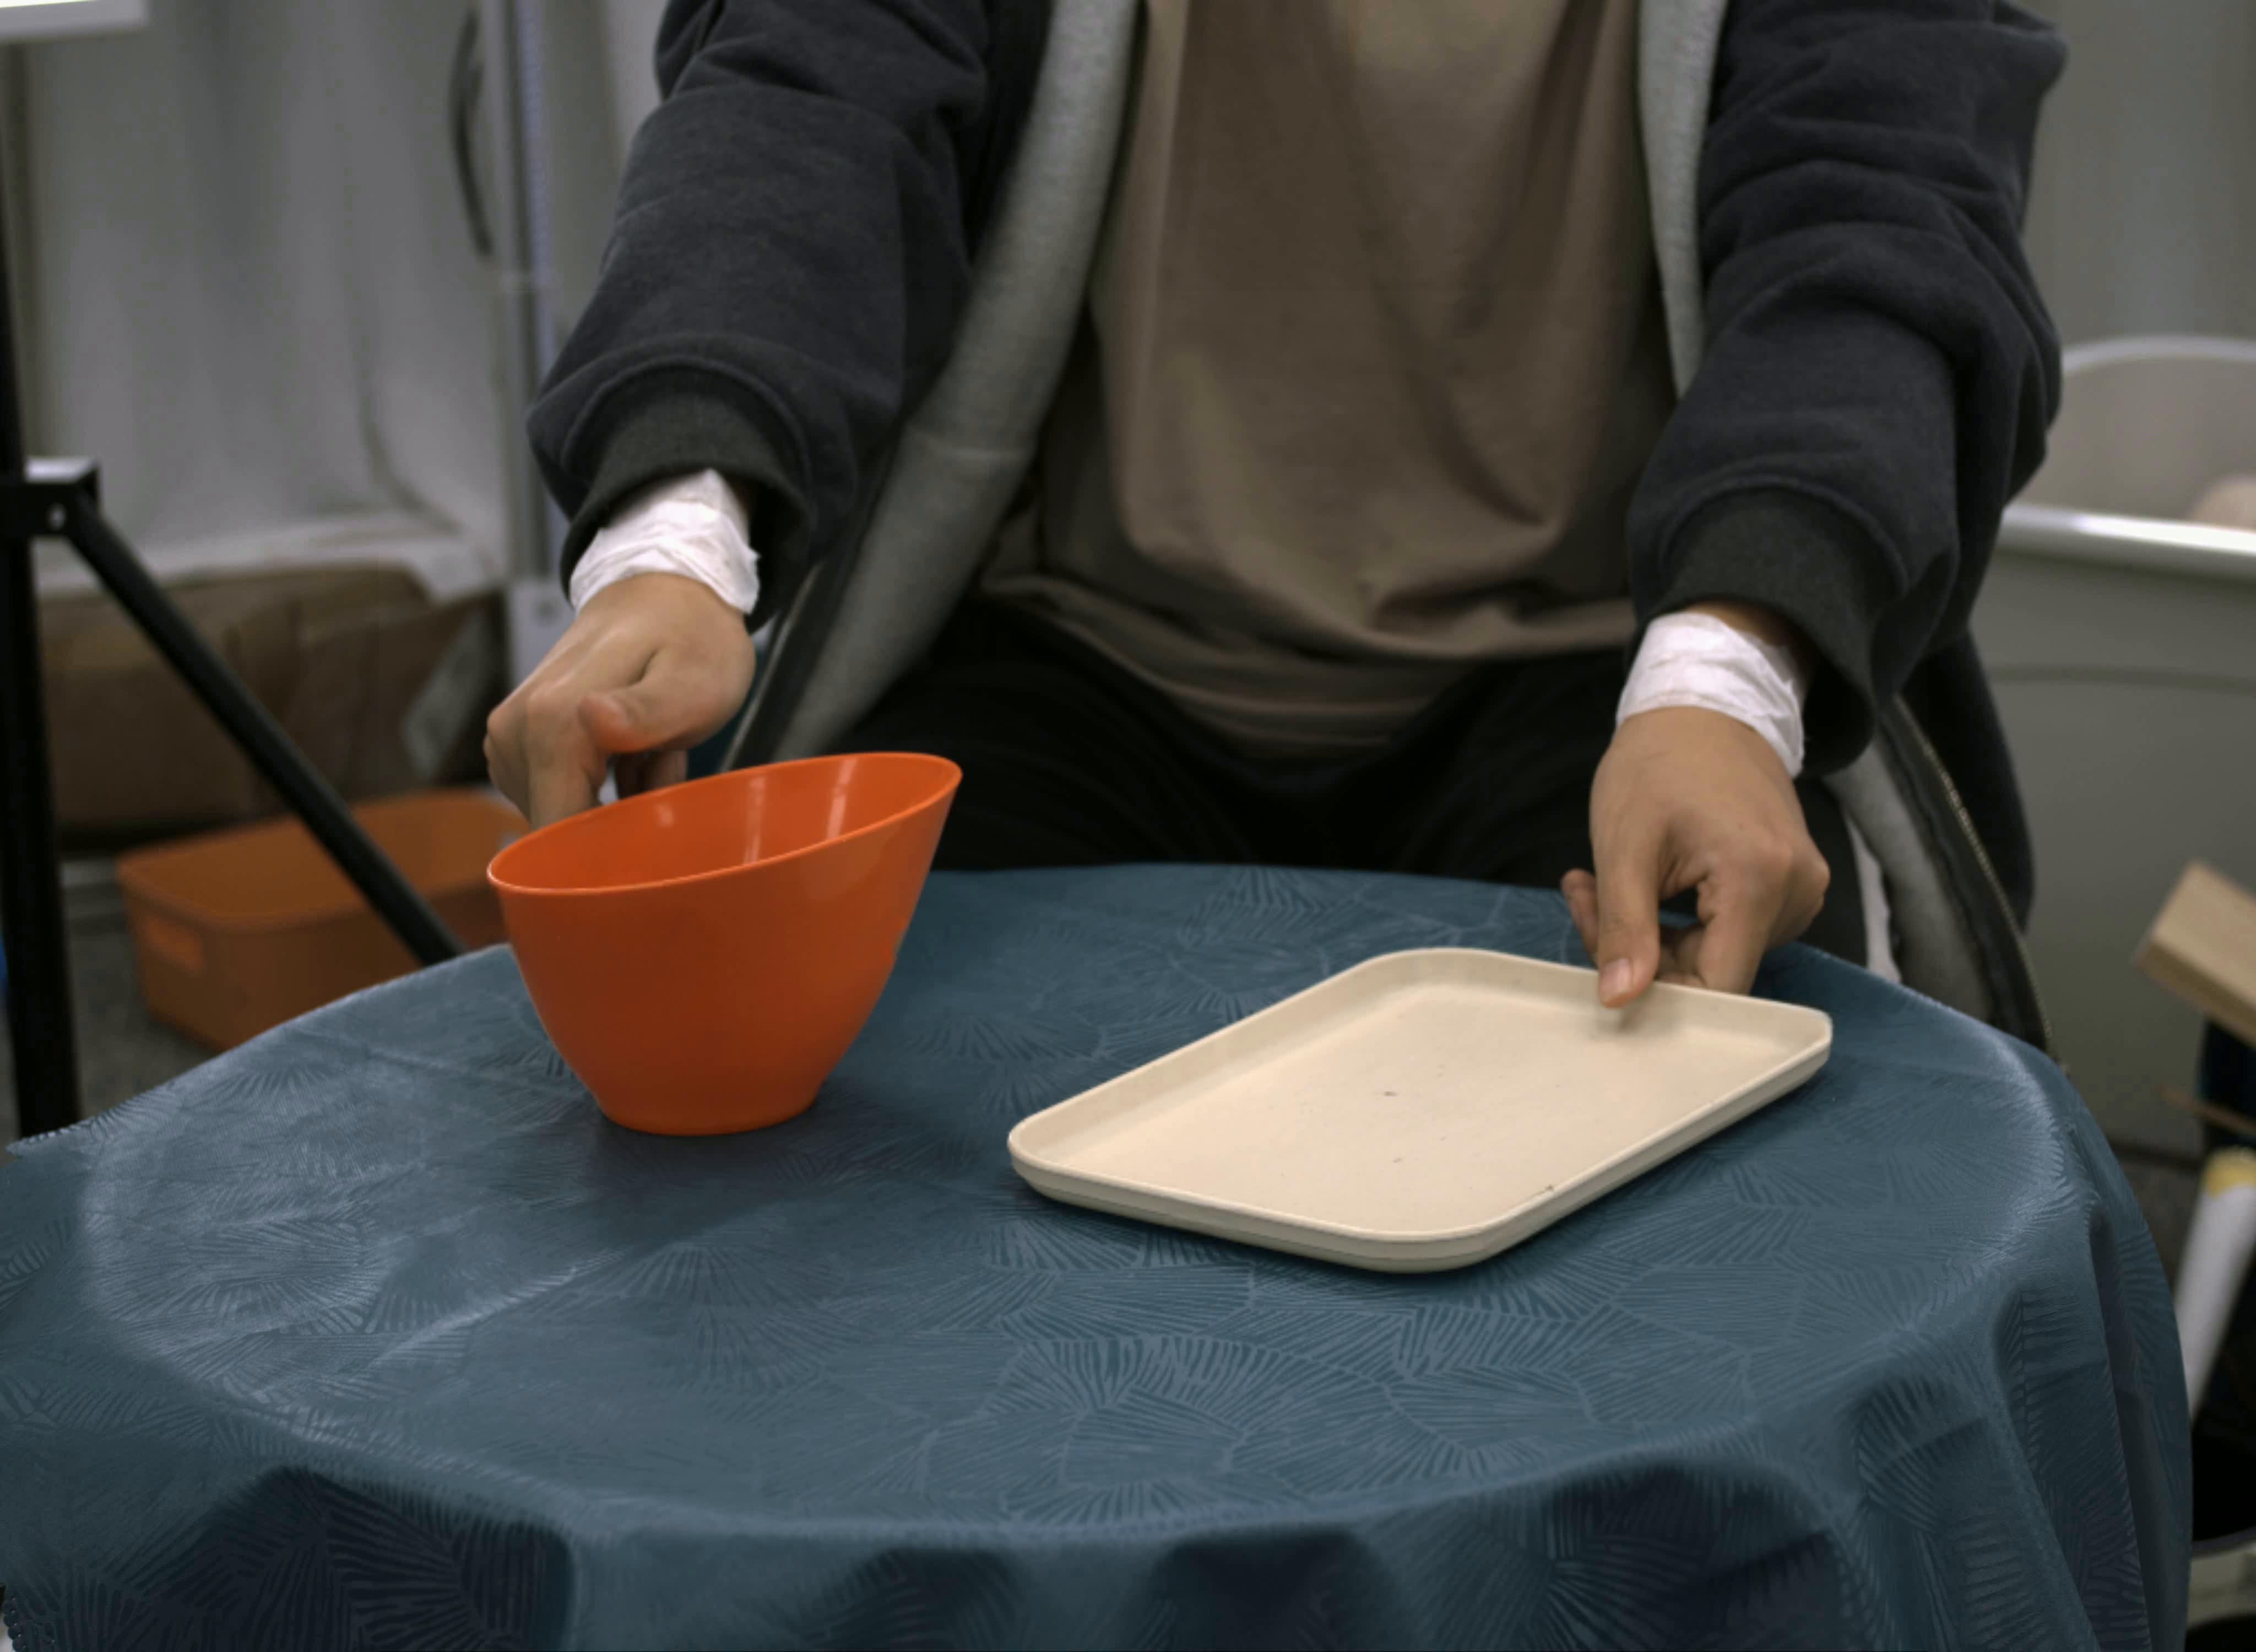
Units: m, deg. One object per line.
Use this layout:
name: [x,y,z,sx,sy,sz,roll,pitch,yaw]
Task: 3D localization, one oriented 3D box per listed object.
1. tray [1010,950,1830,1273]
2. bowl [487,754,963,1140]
tray: [0.091,0.085,1.595,0.175,0.017,0.234,9,20,37]
bowl: [-0.123,0.038,1.642,0.147,0.104,0.149,-3,17,-1]
